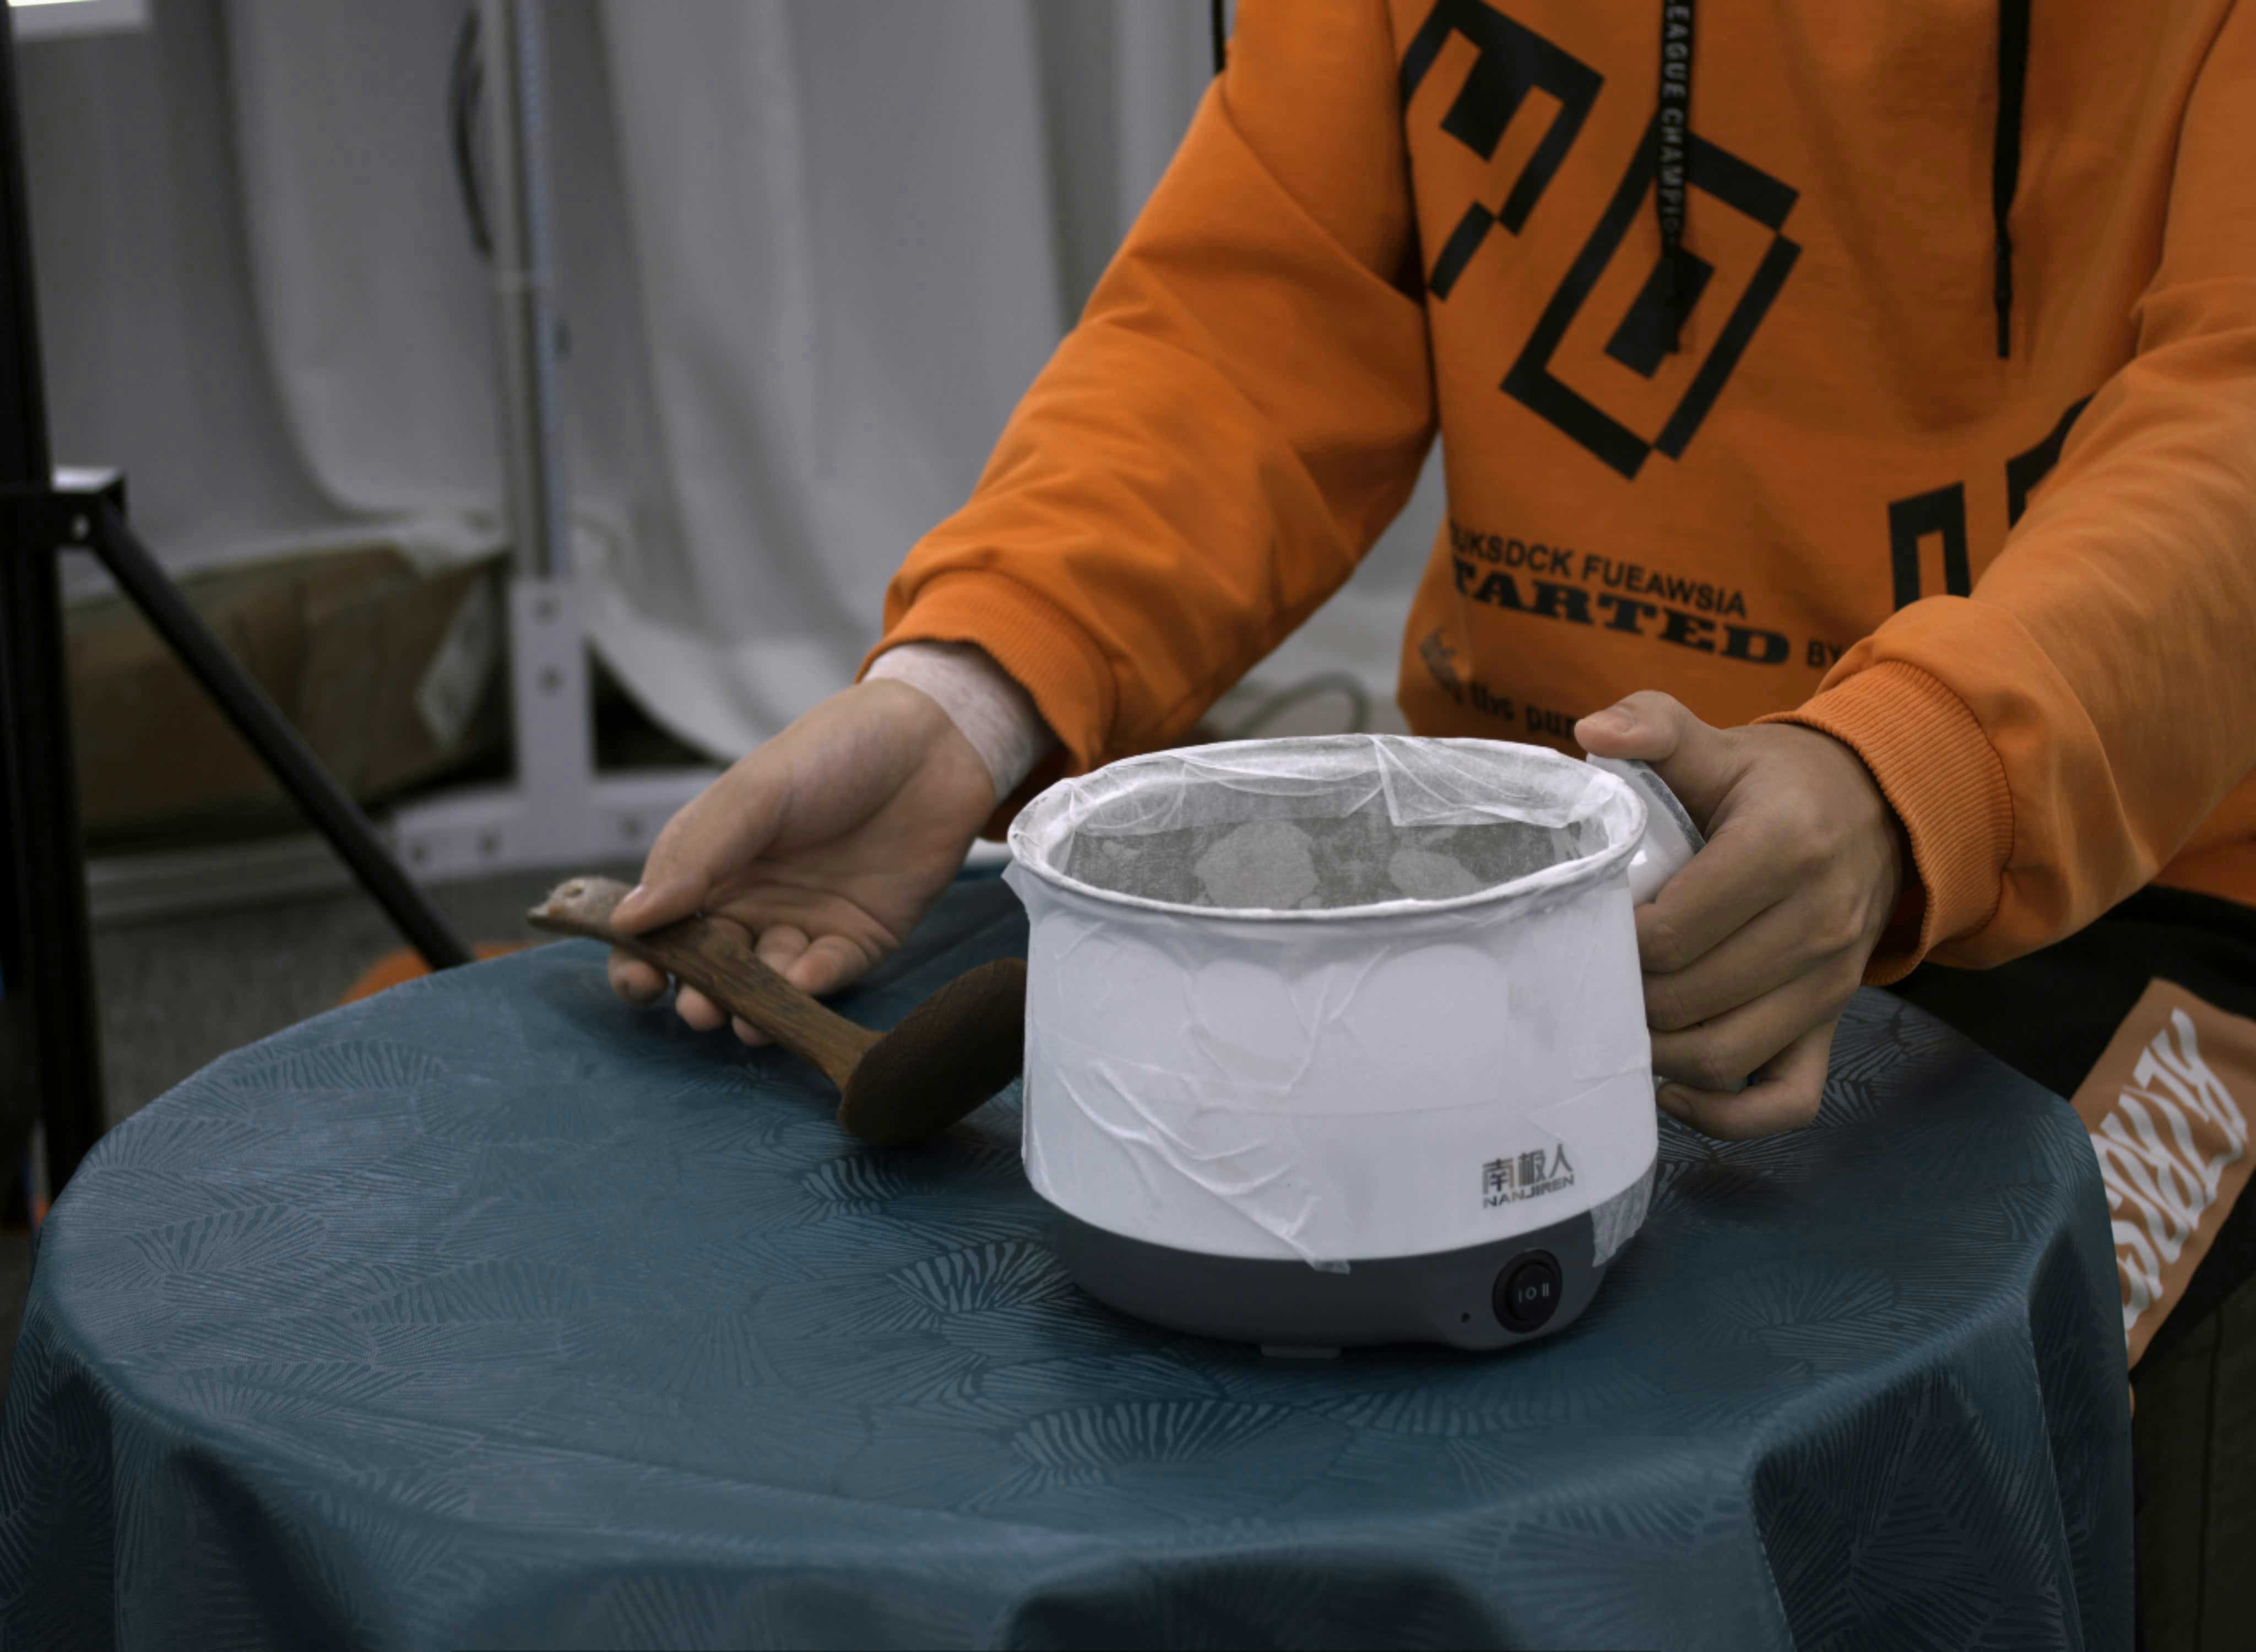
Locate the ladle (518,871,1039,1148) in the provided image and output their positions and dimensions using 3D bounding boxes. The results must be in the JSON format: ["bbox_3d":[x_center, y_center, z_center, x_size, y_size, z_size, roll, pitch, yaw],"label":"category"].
[{"bbox_3d":[-0.122,0.037,1.676,0.075,0.071,0.280,-29,32,-25],"label":"ladle"}]

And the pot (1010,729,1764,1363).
[{"bbox_3d":[0.081,0.054,1.484,0.228,0.136,0.183,-13,19,-32],"label":"pot"}]
